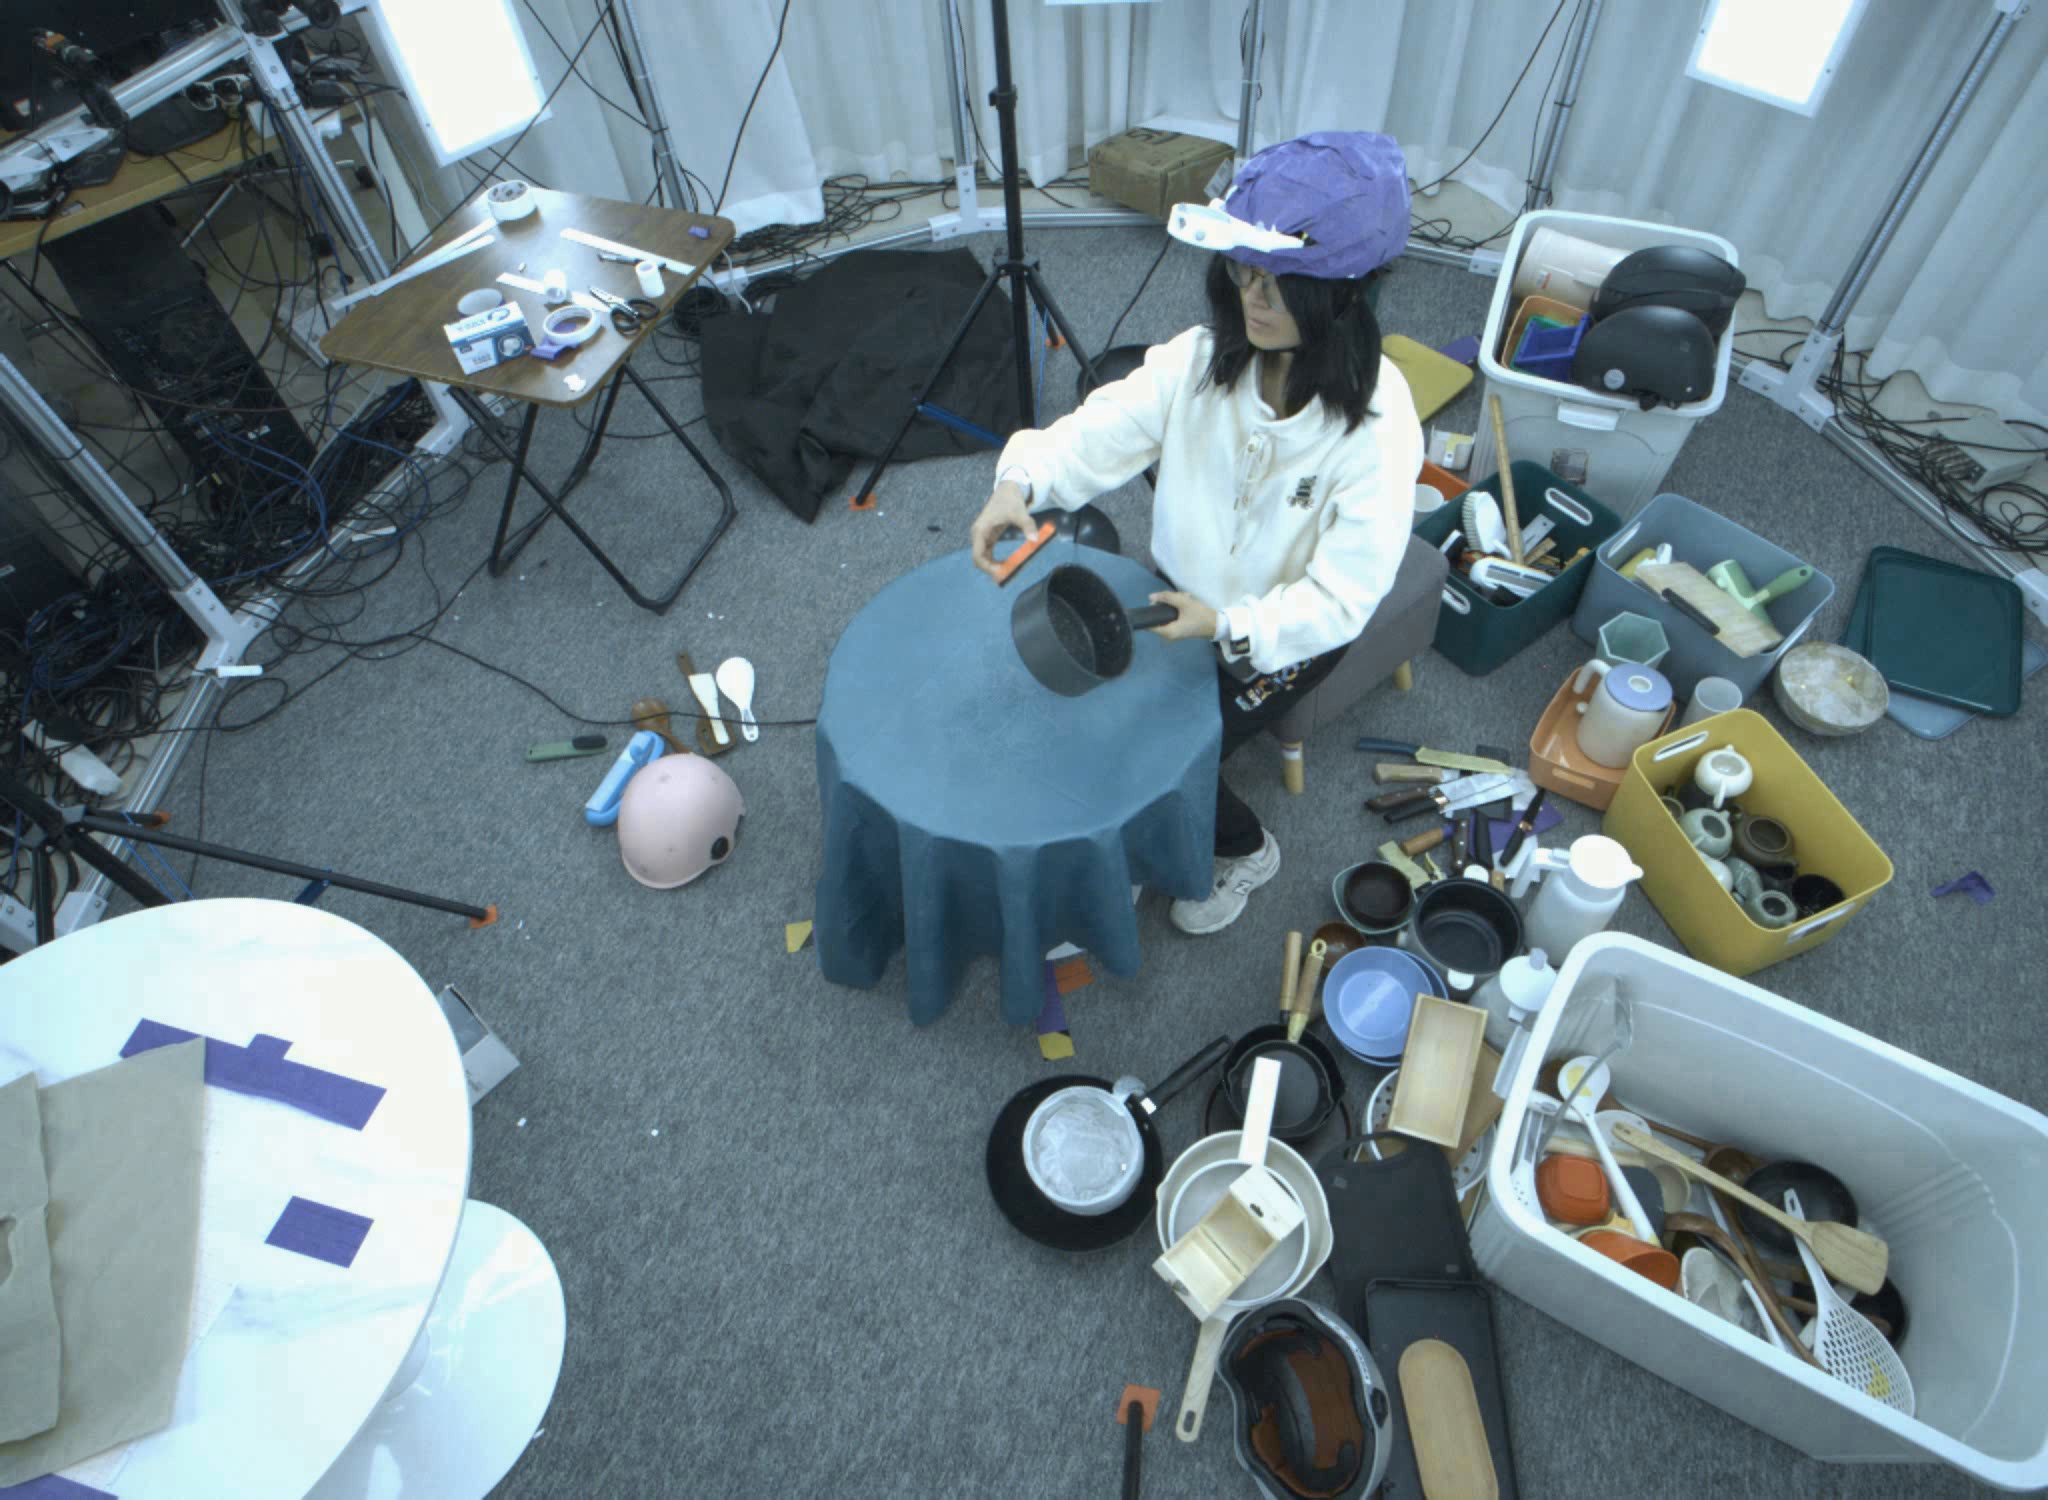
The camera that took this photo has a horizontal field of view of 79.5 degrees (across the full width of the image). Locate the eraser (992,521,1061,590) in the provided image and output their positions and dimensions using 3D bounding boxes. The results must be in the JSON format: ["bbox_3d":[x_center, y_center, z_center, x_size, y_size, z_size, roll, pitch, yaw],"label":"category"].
[{"bbox_3d":[0.003,-0.251,1.578,0.023,0.058,0.108,44,46,-3],"label":"eraser"}]

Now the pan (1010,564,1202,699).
[{"bbox_3d":[0.119,-0.168,1.714,0.335,0.085,0.171,-11,80,-47],"label":"pan"}]
